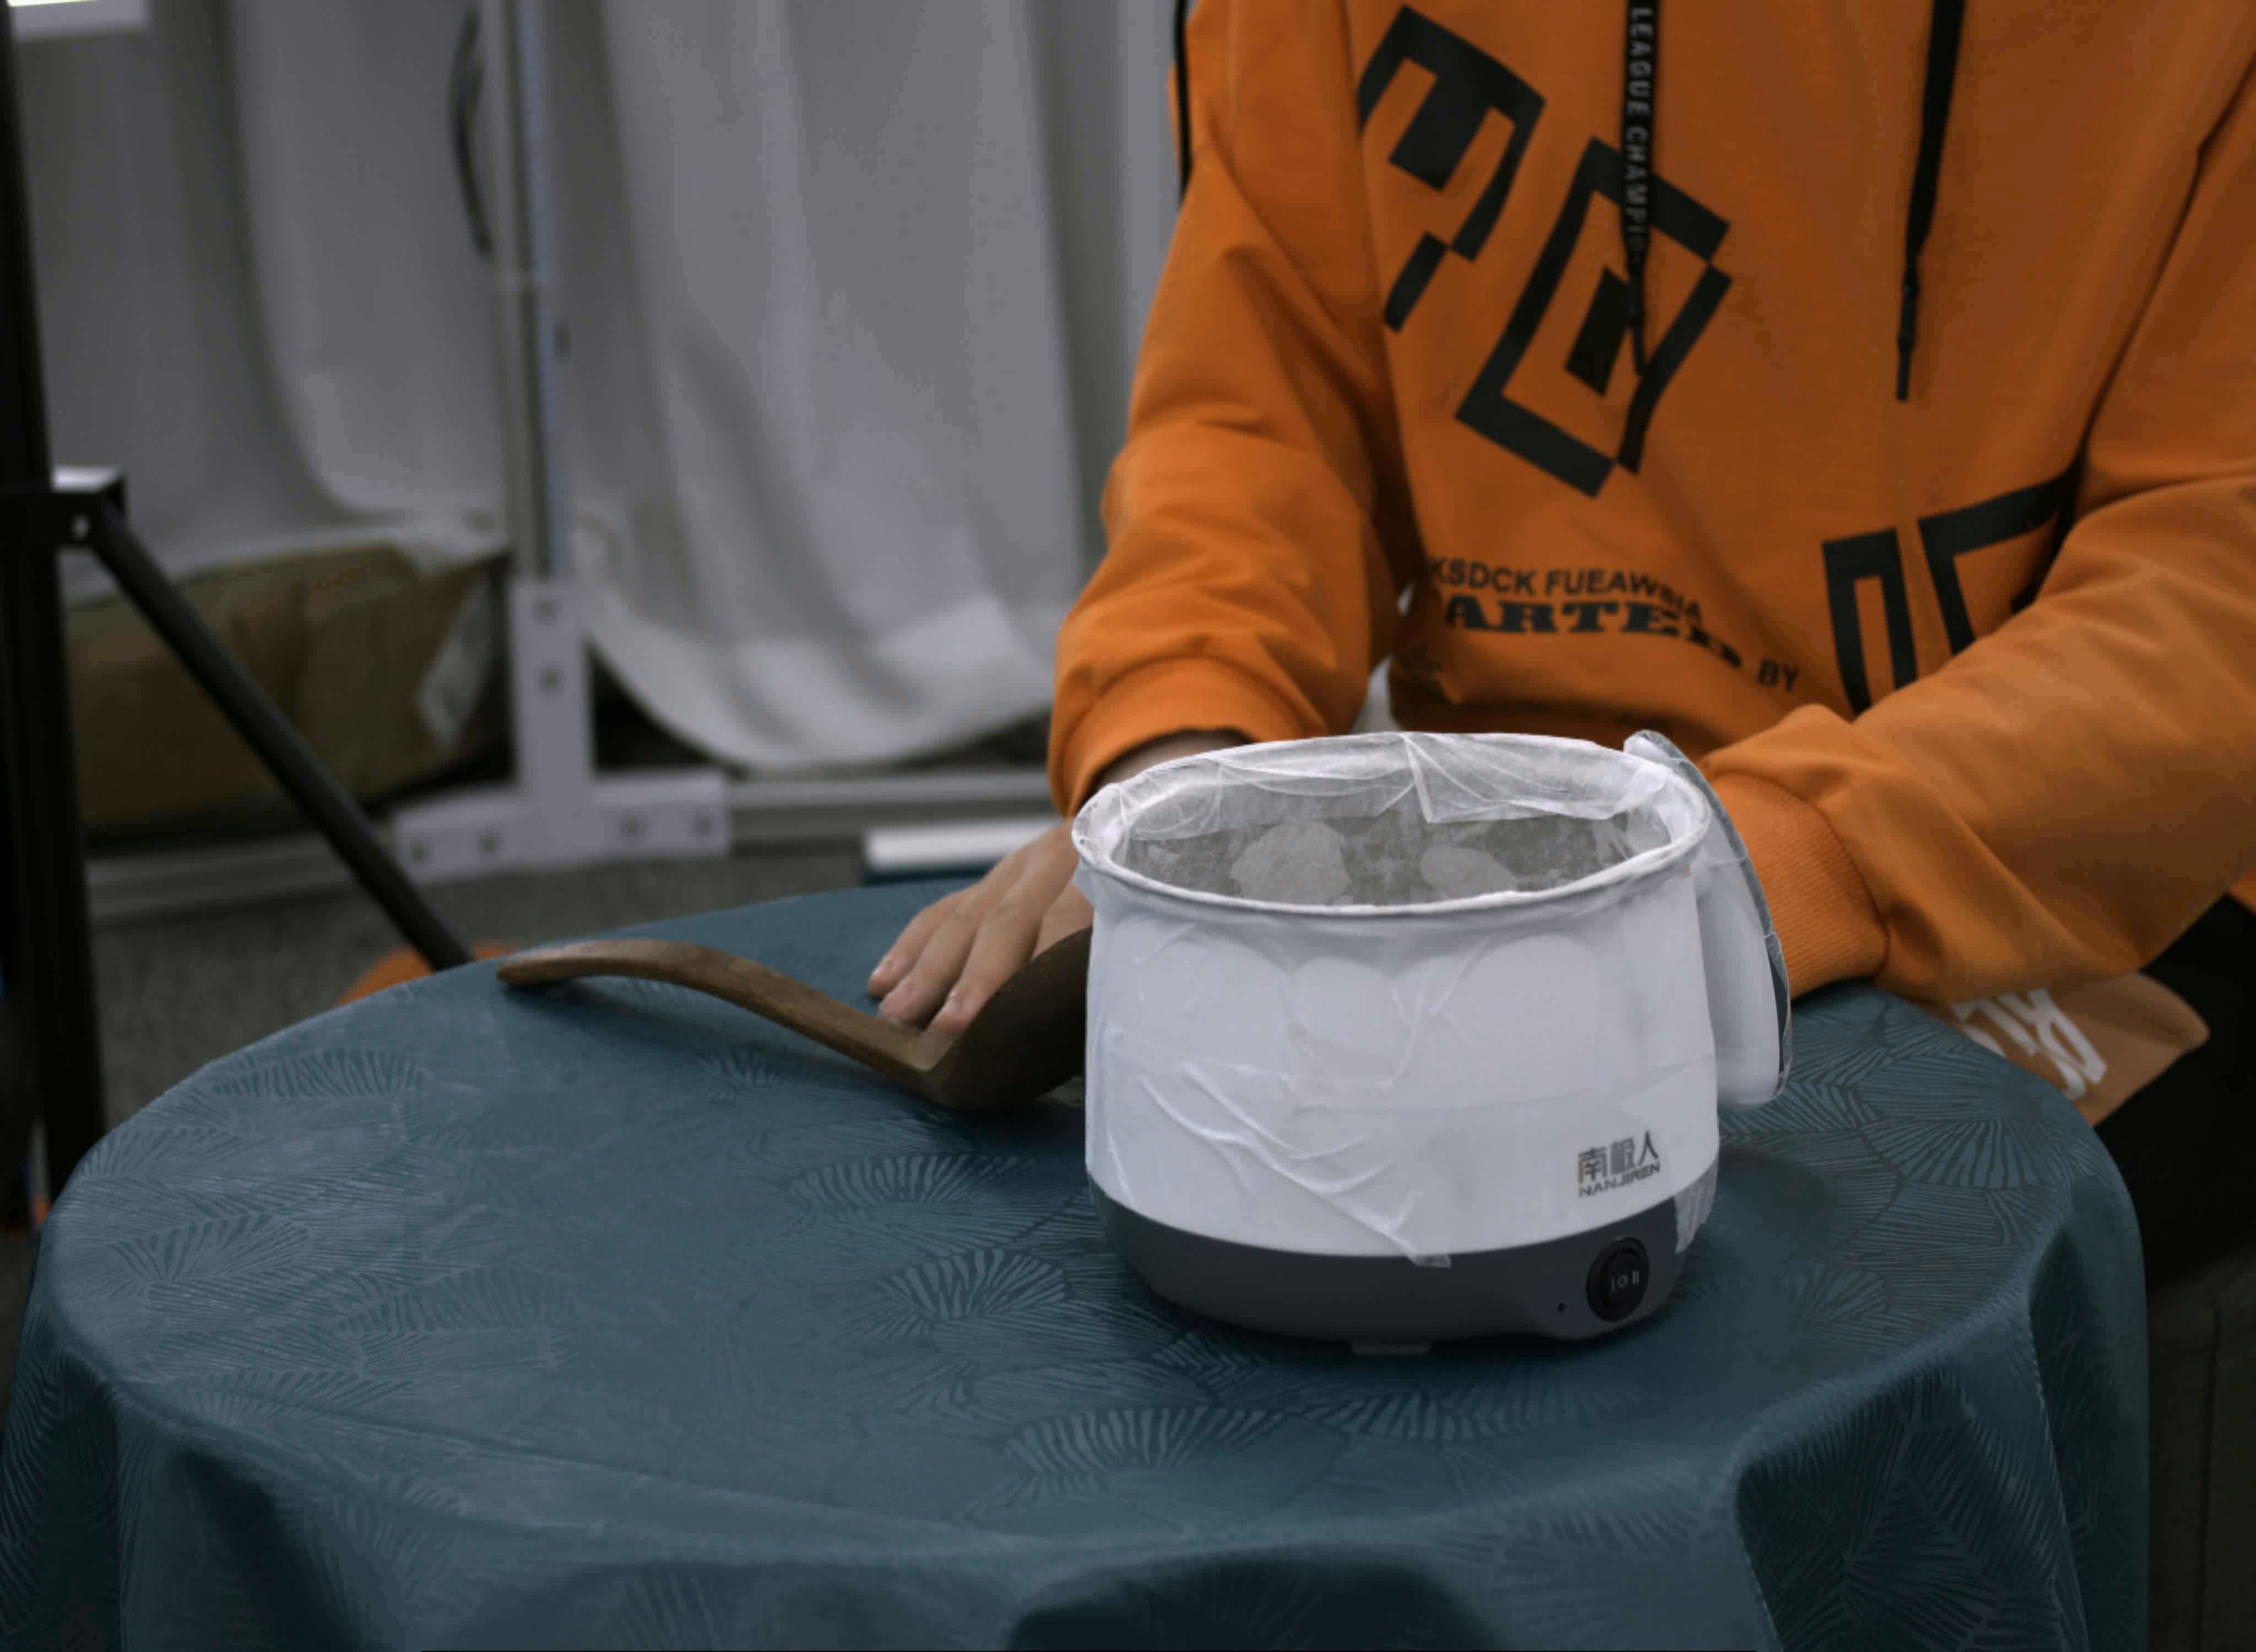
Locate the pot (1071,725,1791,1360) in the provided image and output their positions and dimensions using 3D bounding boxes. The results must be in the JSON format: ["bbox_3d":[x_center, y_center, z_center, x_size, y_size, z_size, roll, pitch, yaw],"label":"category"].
[{"bbox_3d":[0.096,0.052,1.485,0.228,0.136,0.183,-15,21,-38],"label":"pot"}]

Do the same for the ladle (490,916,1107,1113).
[{"bbox_3d":[-0.106,0.040,1.689,0.280,0.071,0.074,13,19,43],"label":"ladle"}]
